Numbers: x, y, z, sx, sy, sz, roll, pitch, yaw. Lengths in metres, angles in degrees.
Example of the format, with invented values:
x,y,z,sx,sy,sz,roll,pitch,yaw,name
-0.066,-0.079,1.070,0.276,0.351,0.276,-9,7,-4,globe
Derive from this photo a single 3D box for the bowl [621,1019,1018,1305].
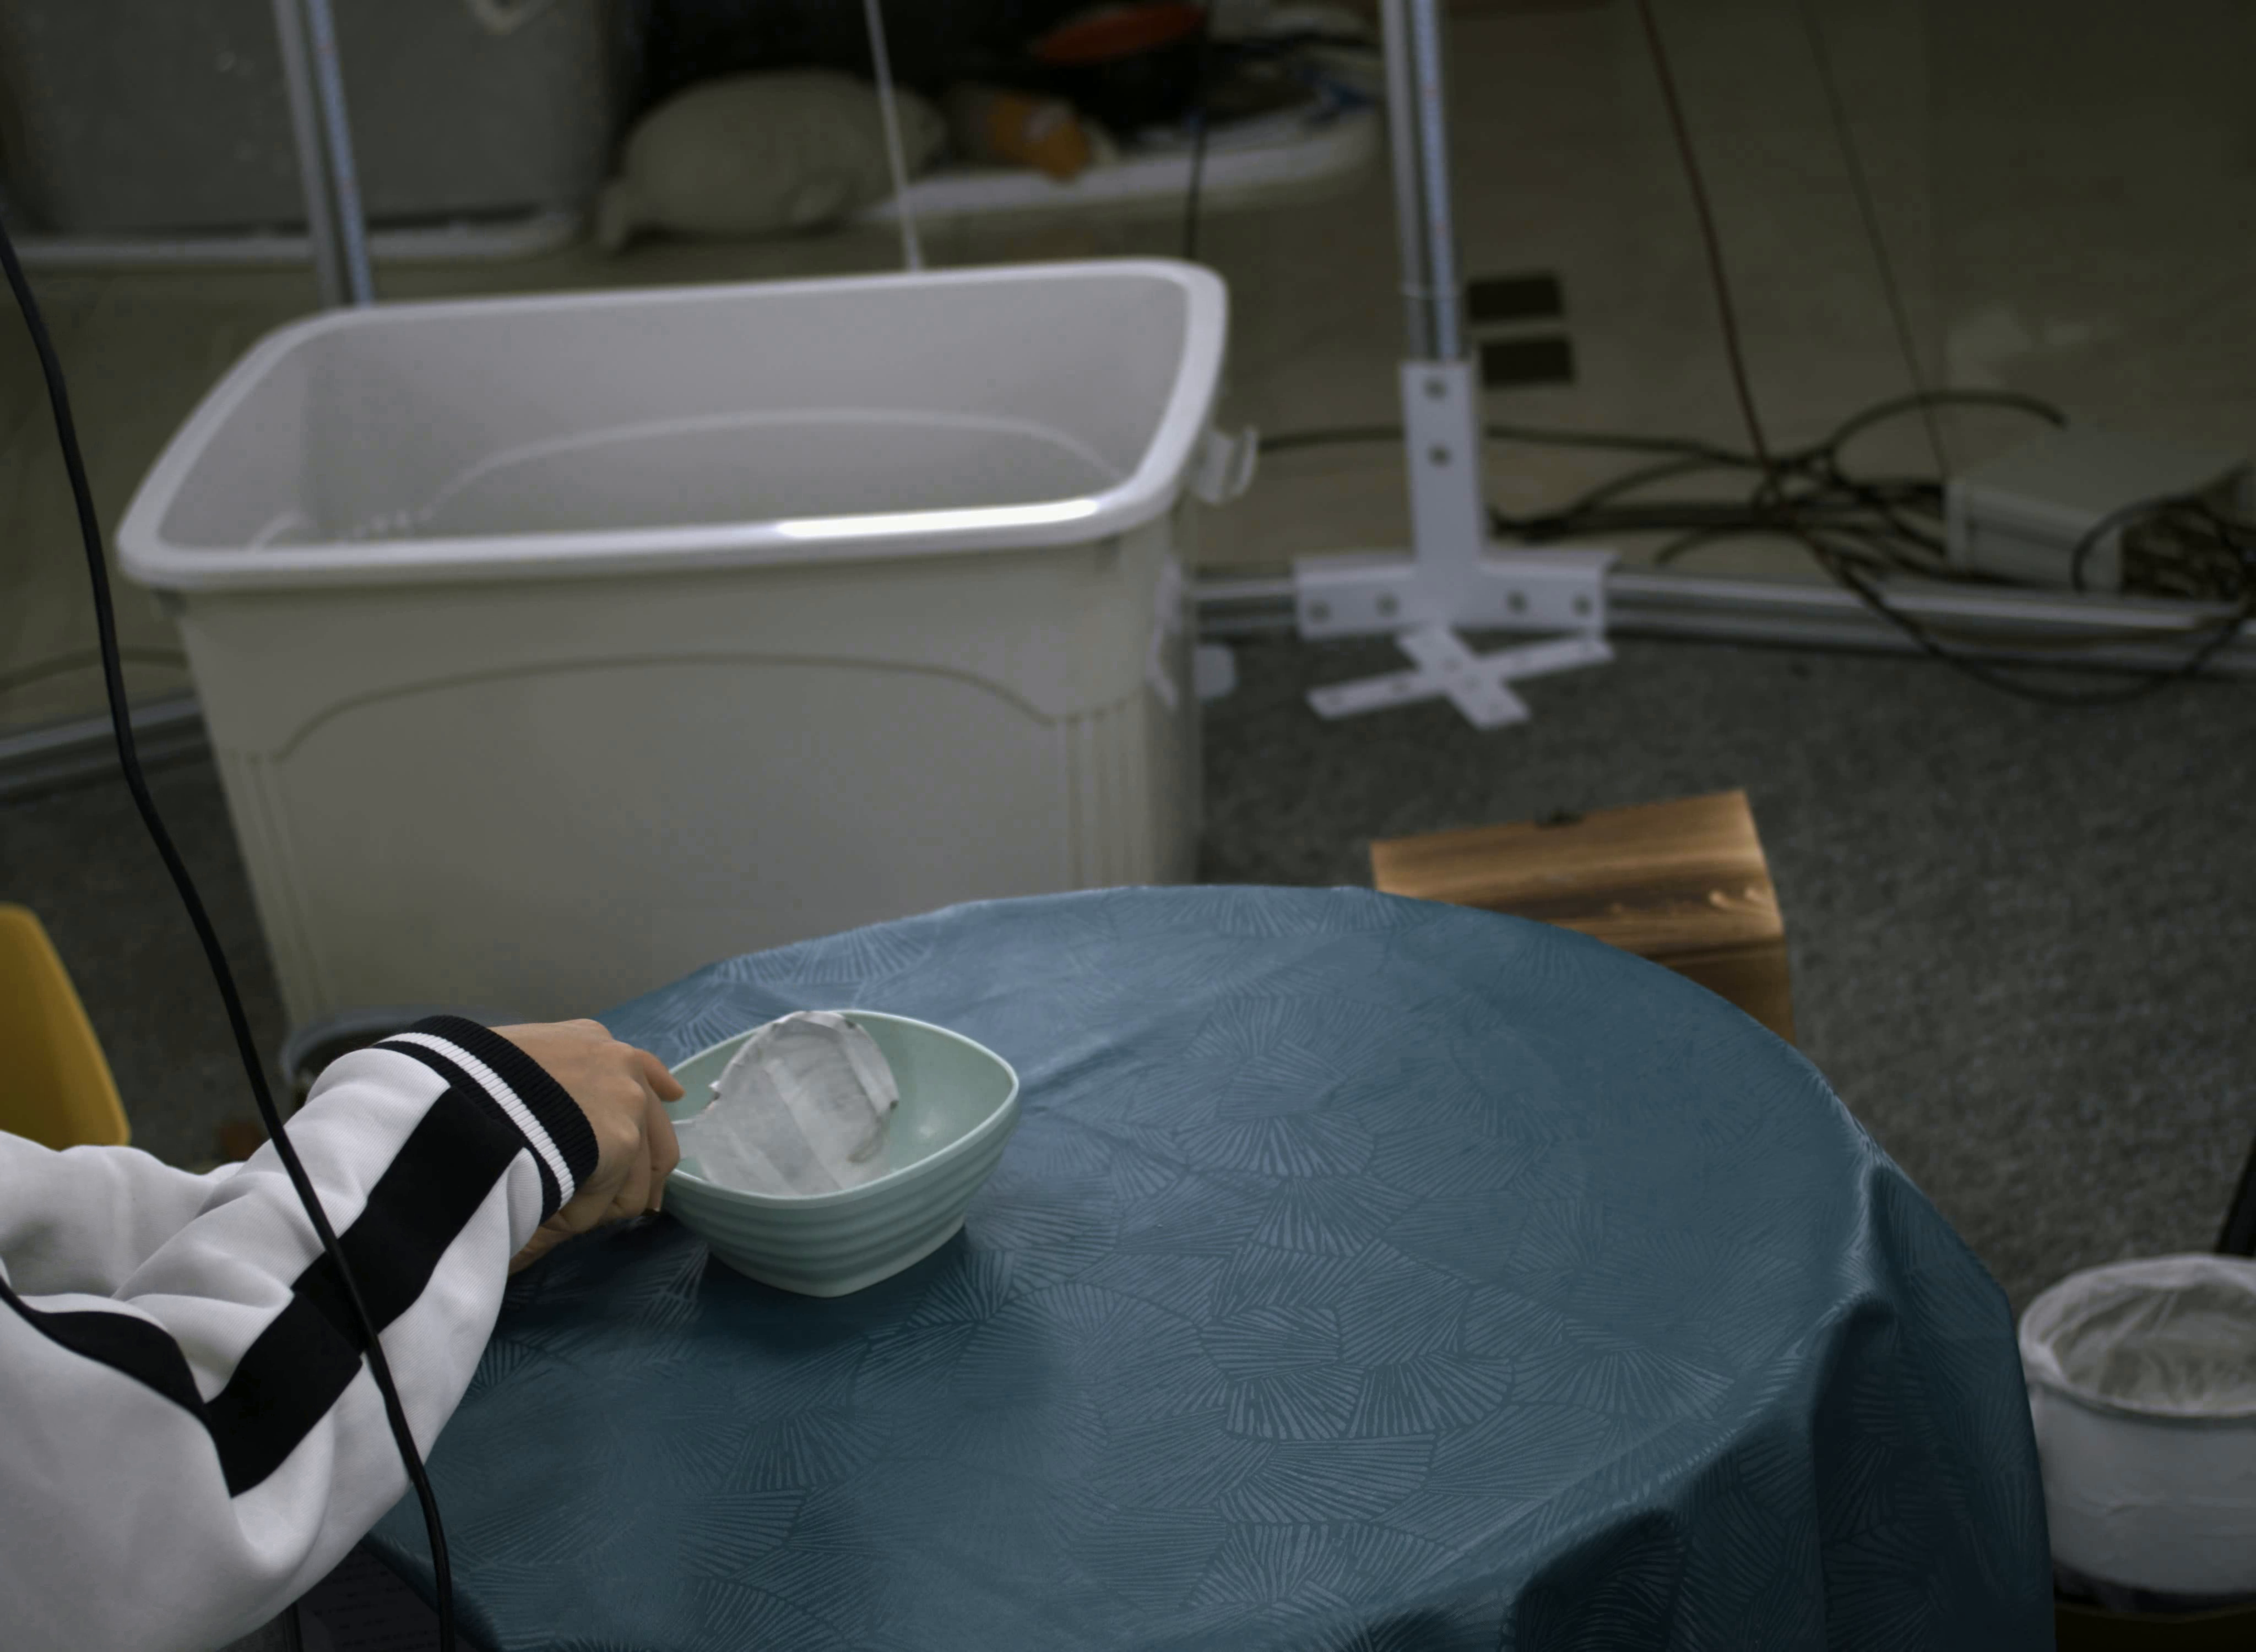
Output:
x,y,z,sx,sy,sz,roll,pitch,yaw,name
-0.114,0.131,2.130,0.151,0.059,0.149,-5,25,2,bowl

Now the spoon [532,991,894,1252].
x,y,z,sx,sy,sz,roll,pitch,yaw,name
-0.143,0.105,2.005,0.059,0.101,0.278,2,-3,11,spoon
